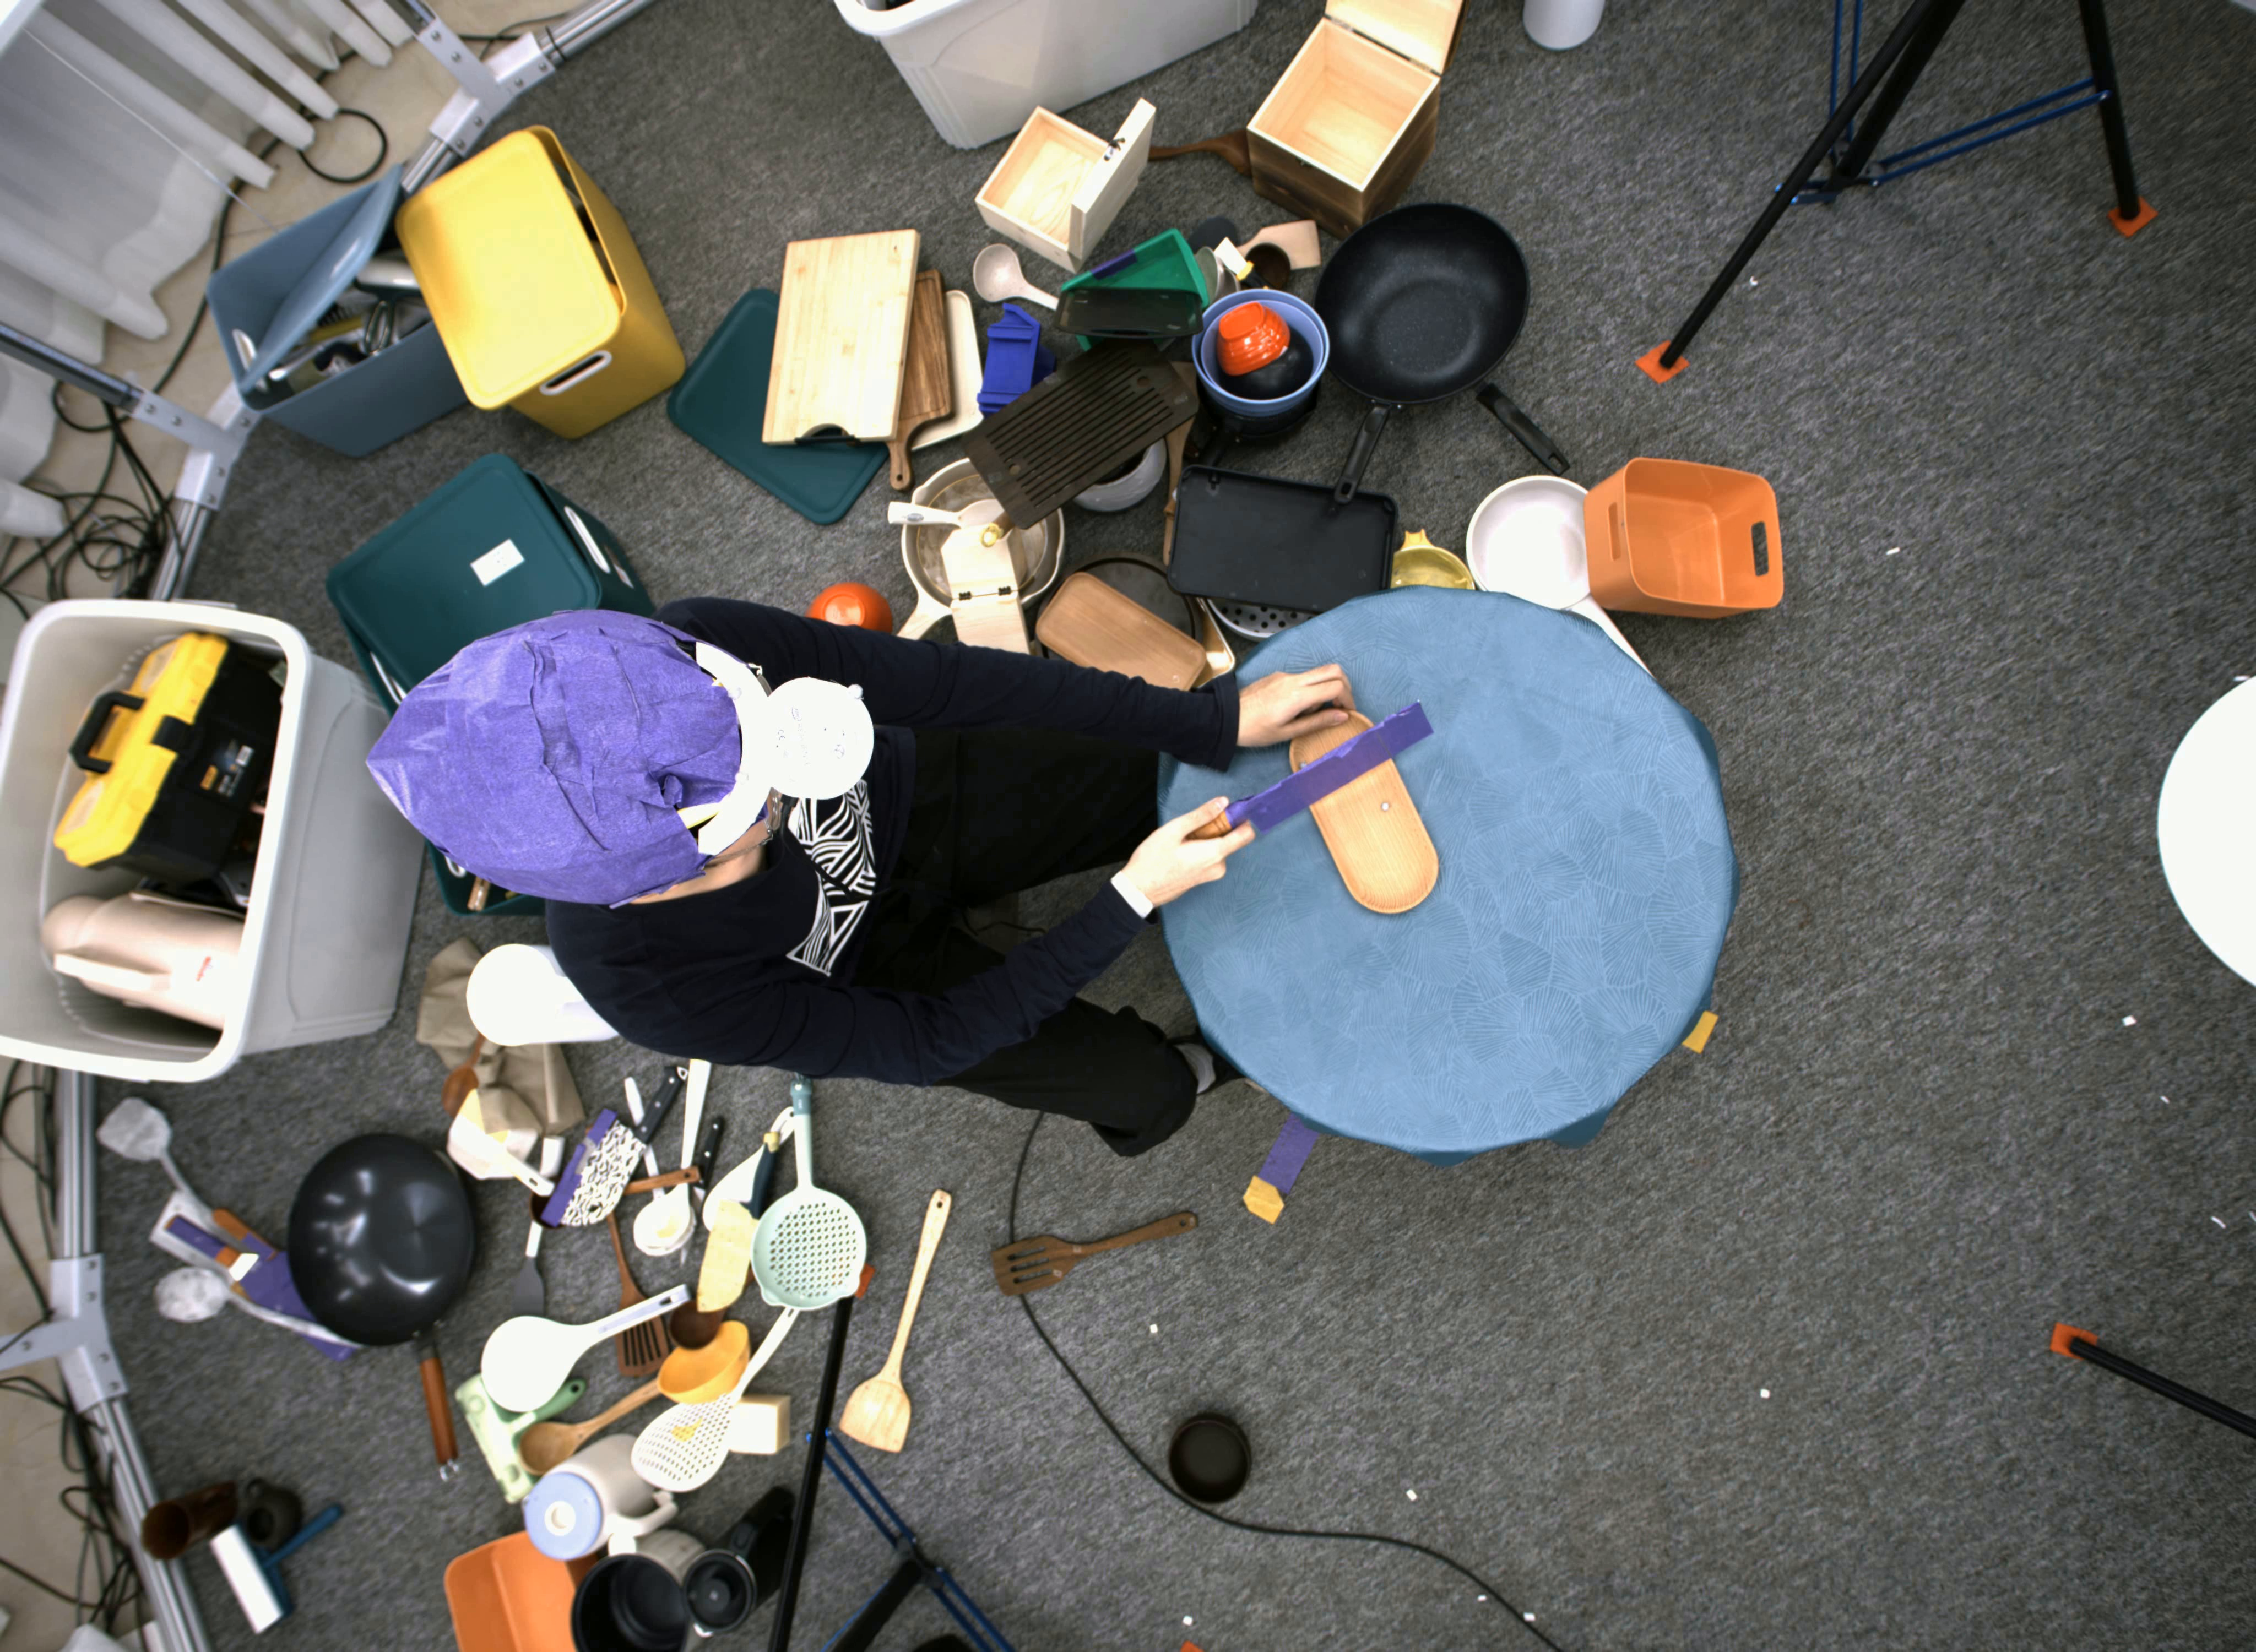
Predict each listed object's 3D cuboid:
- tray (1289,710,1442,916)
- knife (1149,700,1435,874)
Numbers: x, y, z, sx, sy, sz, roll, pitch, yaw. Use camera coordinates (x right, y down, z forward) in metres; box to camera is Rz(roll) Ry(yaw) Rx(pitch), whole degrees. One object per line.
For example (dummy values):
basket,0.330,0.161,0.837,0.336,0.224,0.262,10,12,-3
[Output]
tray,0.251,-0.015,1.461,0.102,0.020,0.230,-27,85,10
knife,0.172,-0.030,1.410,0.318,0.104,0.031,-29,64,12
